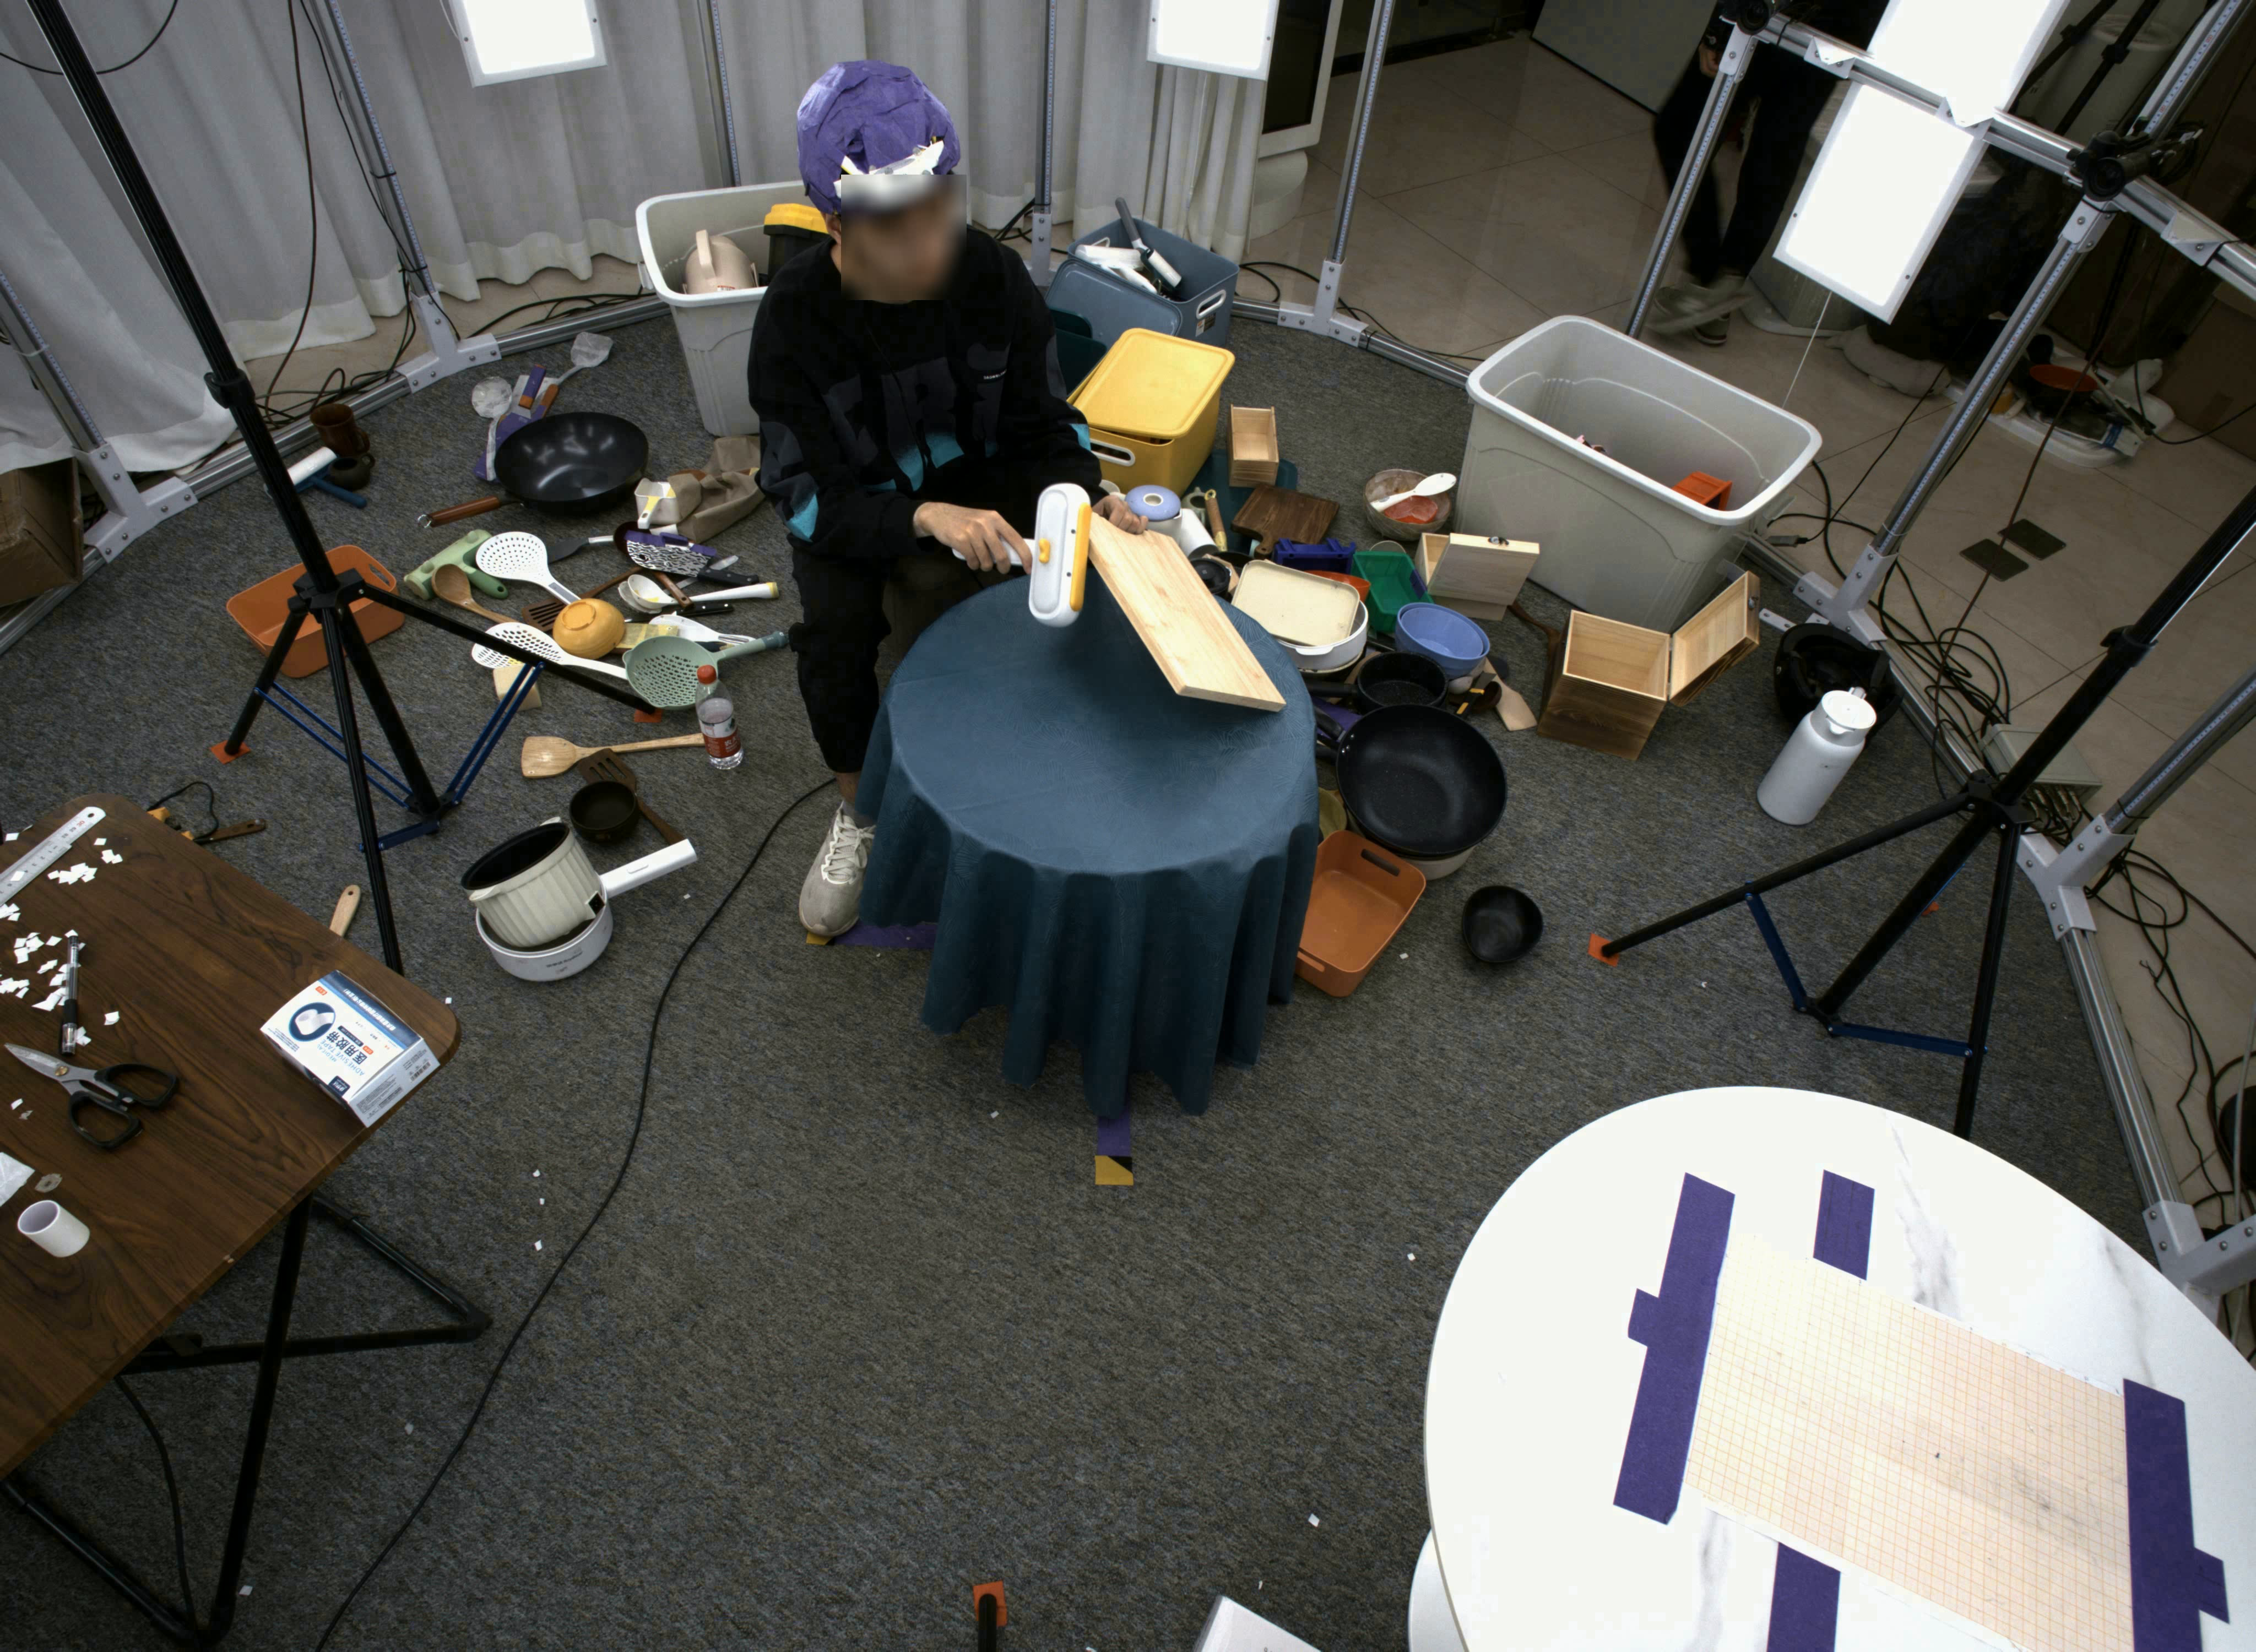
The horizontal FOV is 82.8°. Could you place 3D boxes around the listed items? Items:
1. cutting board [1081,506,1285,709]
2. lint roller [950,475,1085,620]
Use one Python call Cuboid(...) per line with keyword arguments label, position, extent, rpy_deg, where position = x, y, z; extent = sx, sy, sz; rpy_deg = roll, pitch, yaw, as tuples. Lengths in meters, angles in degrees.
Cuboid(label="cutting board", position=(0.062, -0.309, 1.810), extent=(0.249, 0.023, 0.355), rpy_deg=(3, 49, -50))
Cuboid(label="lint roller", position=(-0.150, -0.382, 1.773), extent=(0.193, 0.191, 0.074), rpy_deg=(5, 10, 27))
